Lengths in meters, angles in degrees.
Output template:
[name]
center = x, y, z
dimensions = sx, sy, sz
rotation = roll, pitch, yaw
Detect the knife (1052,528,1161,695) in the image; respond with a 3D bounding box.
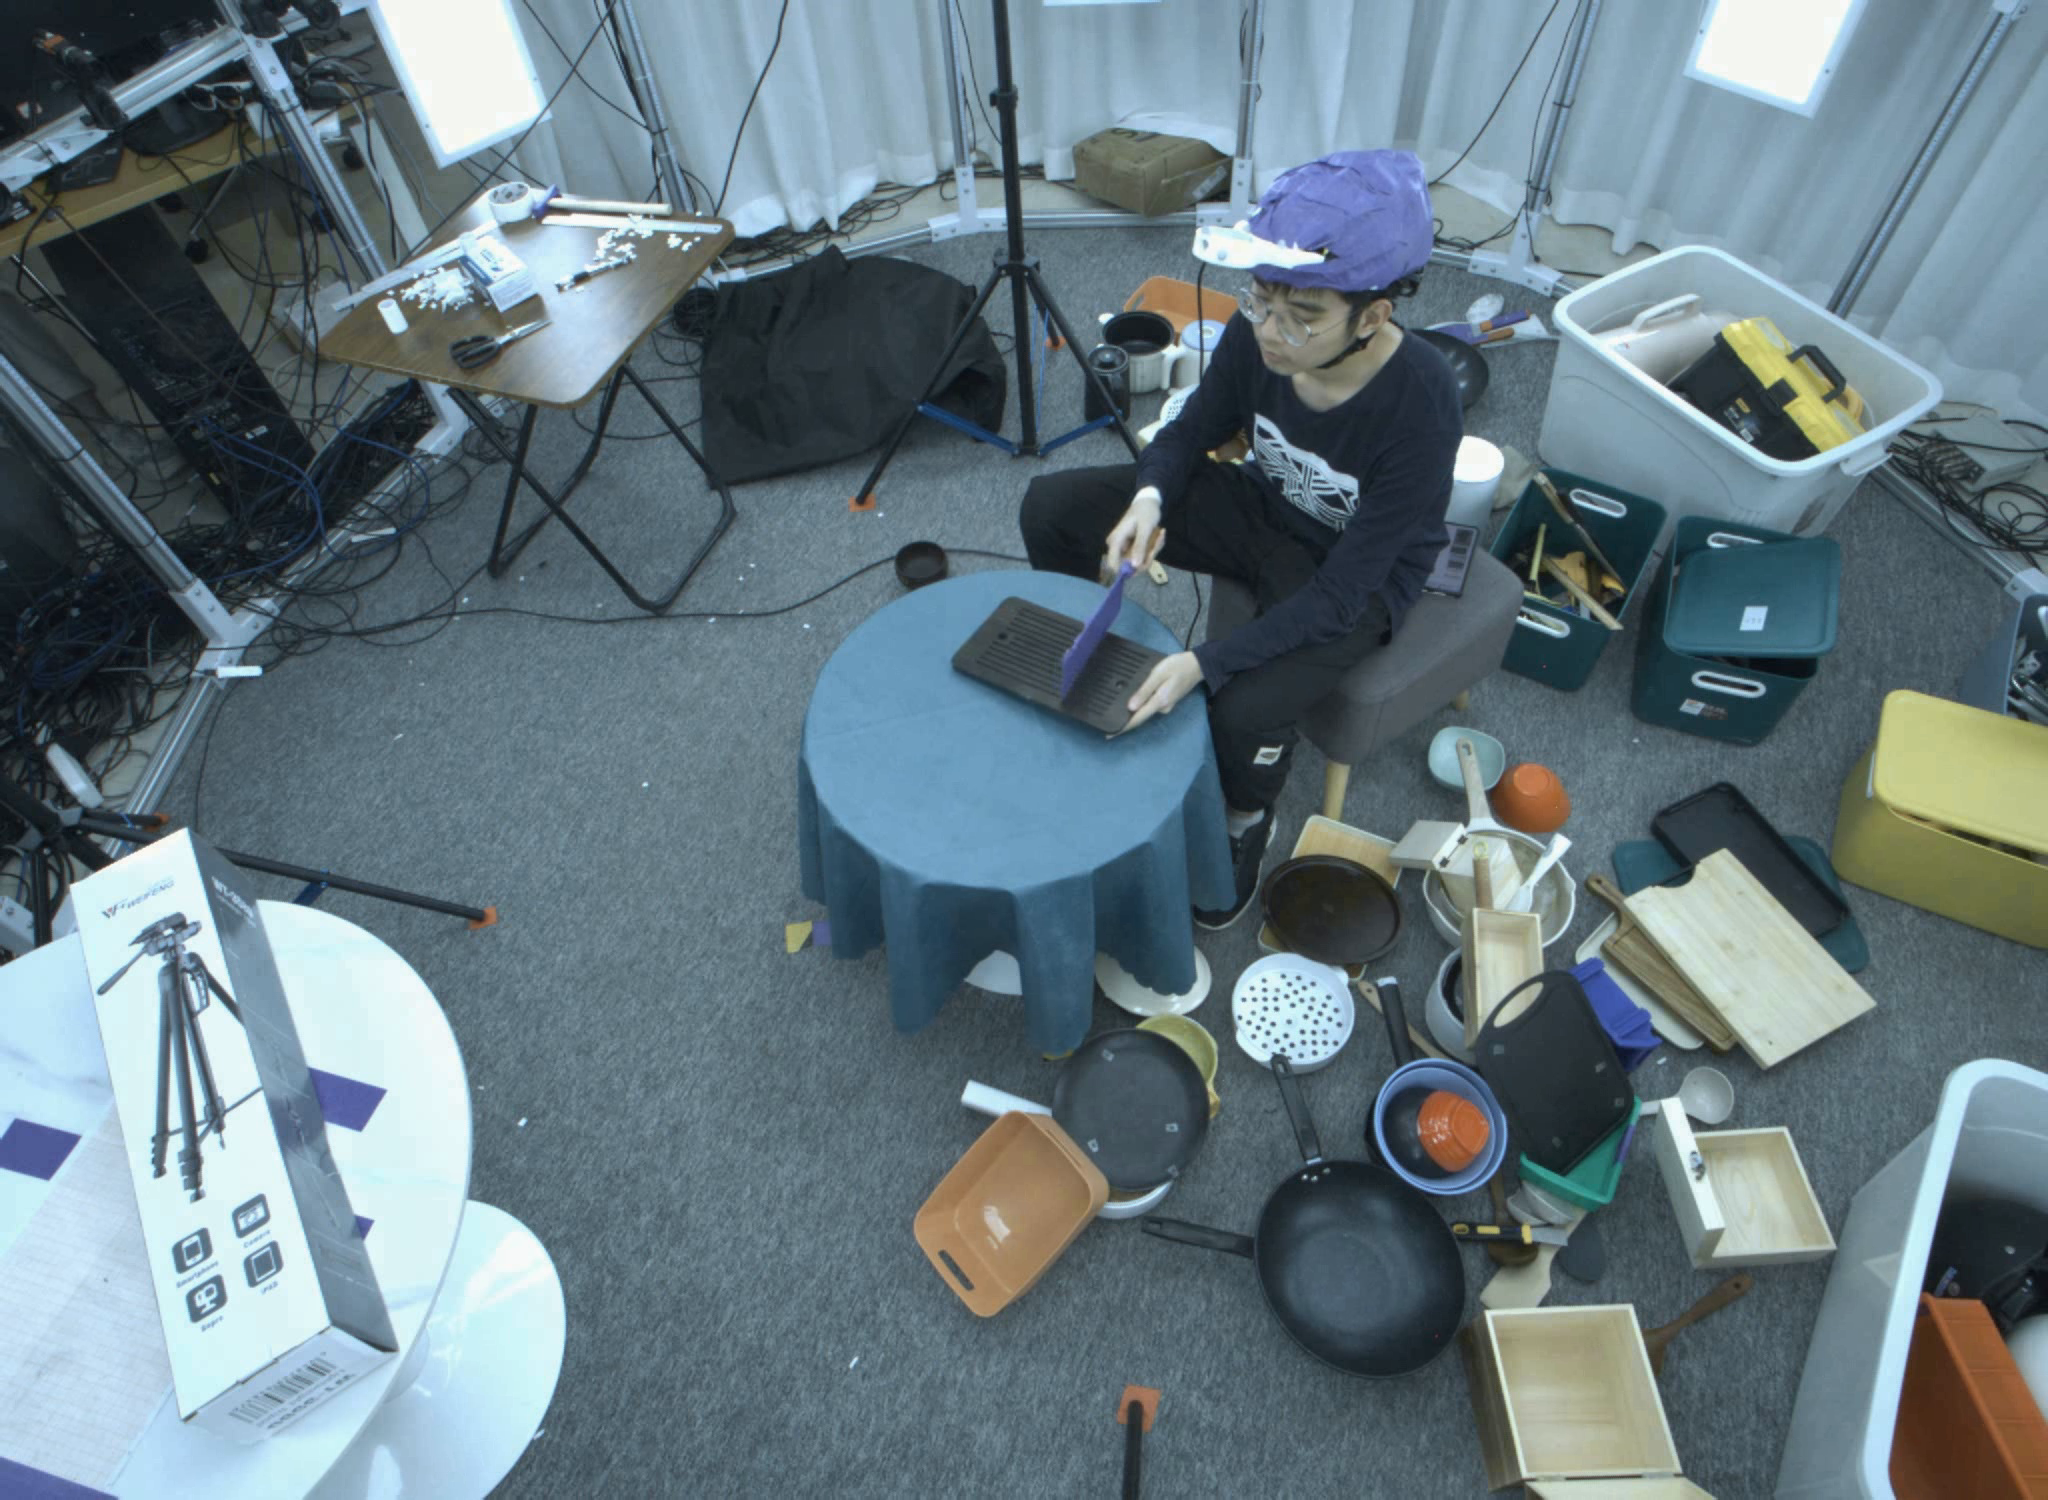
[knife]
center = 0.120, -0.210, 1.843
dimensions = 0.032, 0.104, 0.316
rotation = 27, 57, 15

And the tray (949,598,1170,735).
[tray]
center = 0.052, -0.129, 1.858
dimensions = 0.300, 0.019, 0.171
rotation = 24, 58, 24
